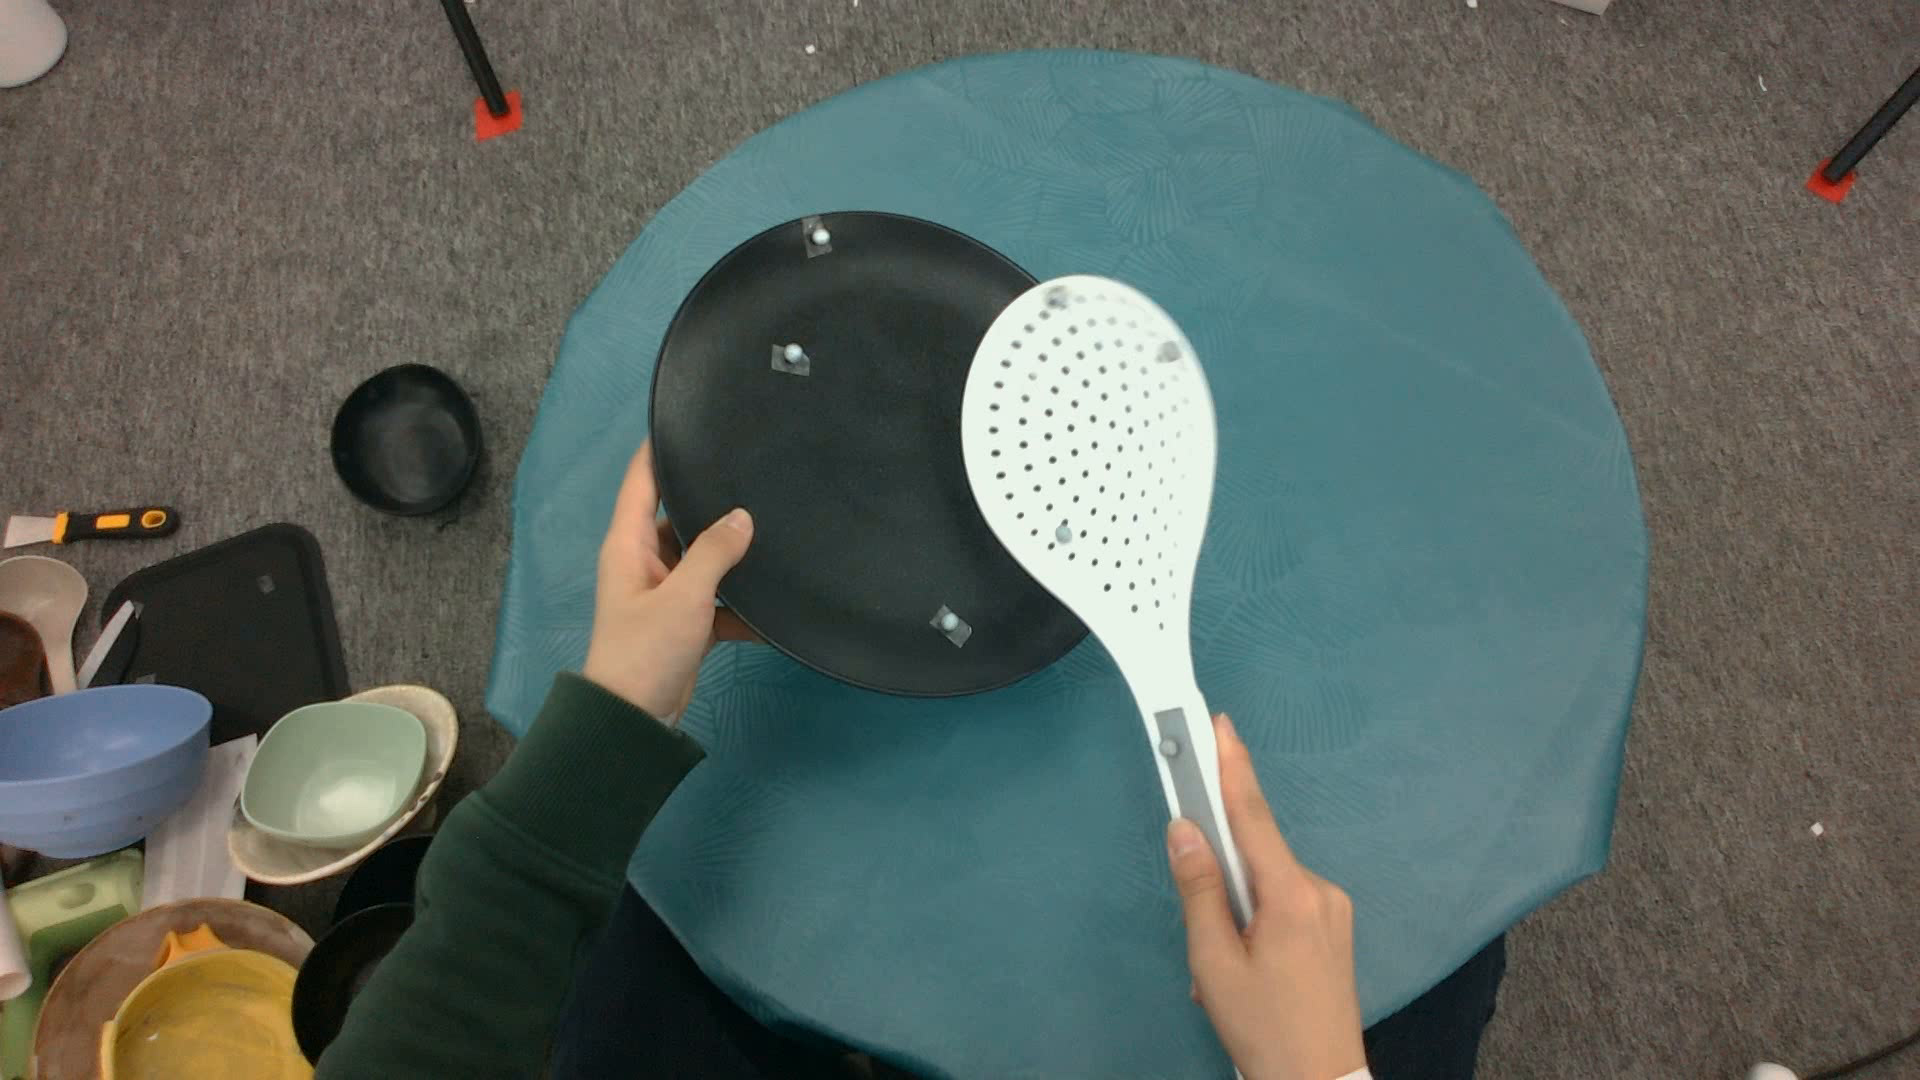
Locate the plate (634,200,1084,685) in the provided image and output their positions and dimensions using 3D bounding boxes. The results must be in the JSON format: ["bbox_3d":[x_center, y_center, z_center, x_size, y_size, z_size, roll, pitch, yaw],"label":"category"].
[{"bbox_3d":[-0.032,-0.049,0.648,0.245,0.023,0.245,9,67,-21],"label":"plate"}]

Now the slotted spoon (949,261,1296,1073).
[{"bbox_3d":[0.079,0.051,0.586,0.046,0.135,0.350,-3,76,-45],"label":"slotted spoon"}]
